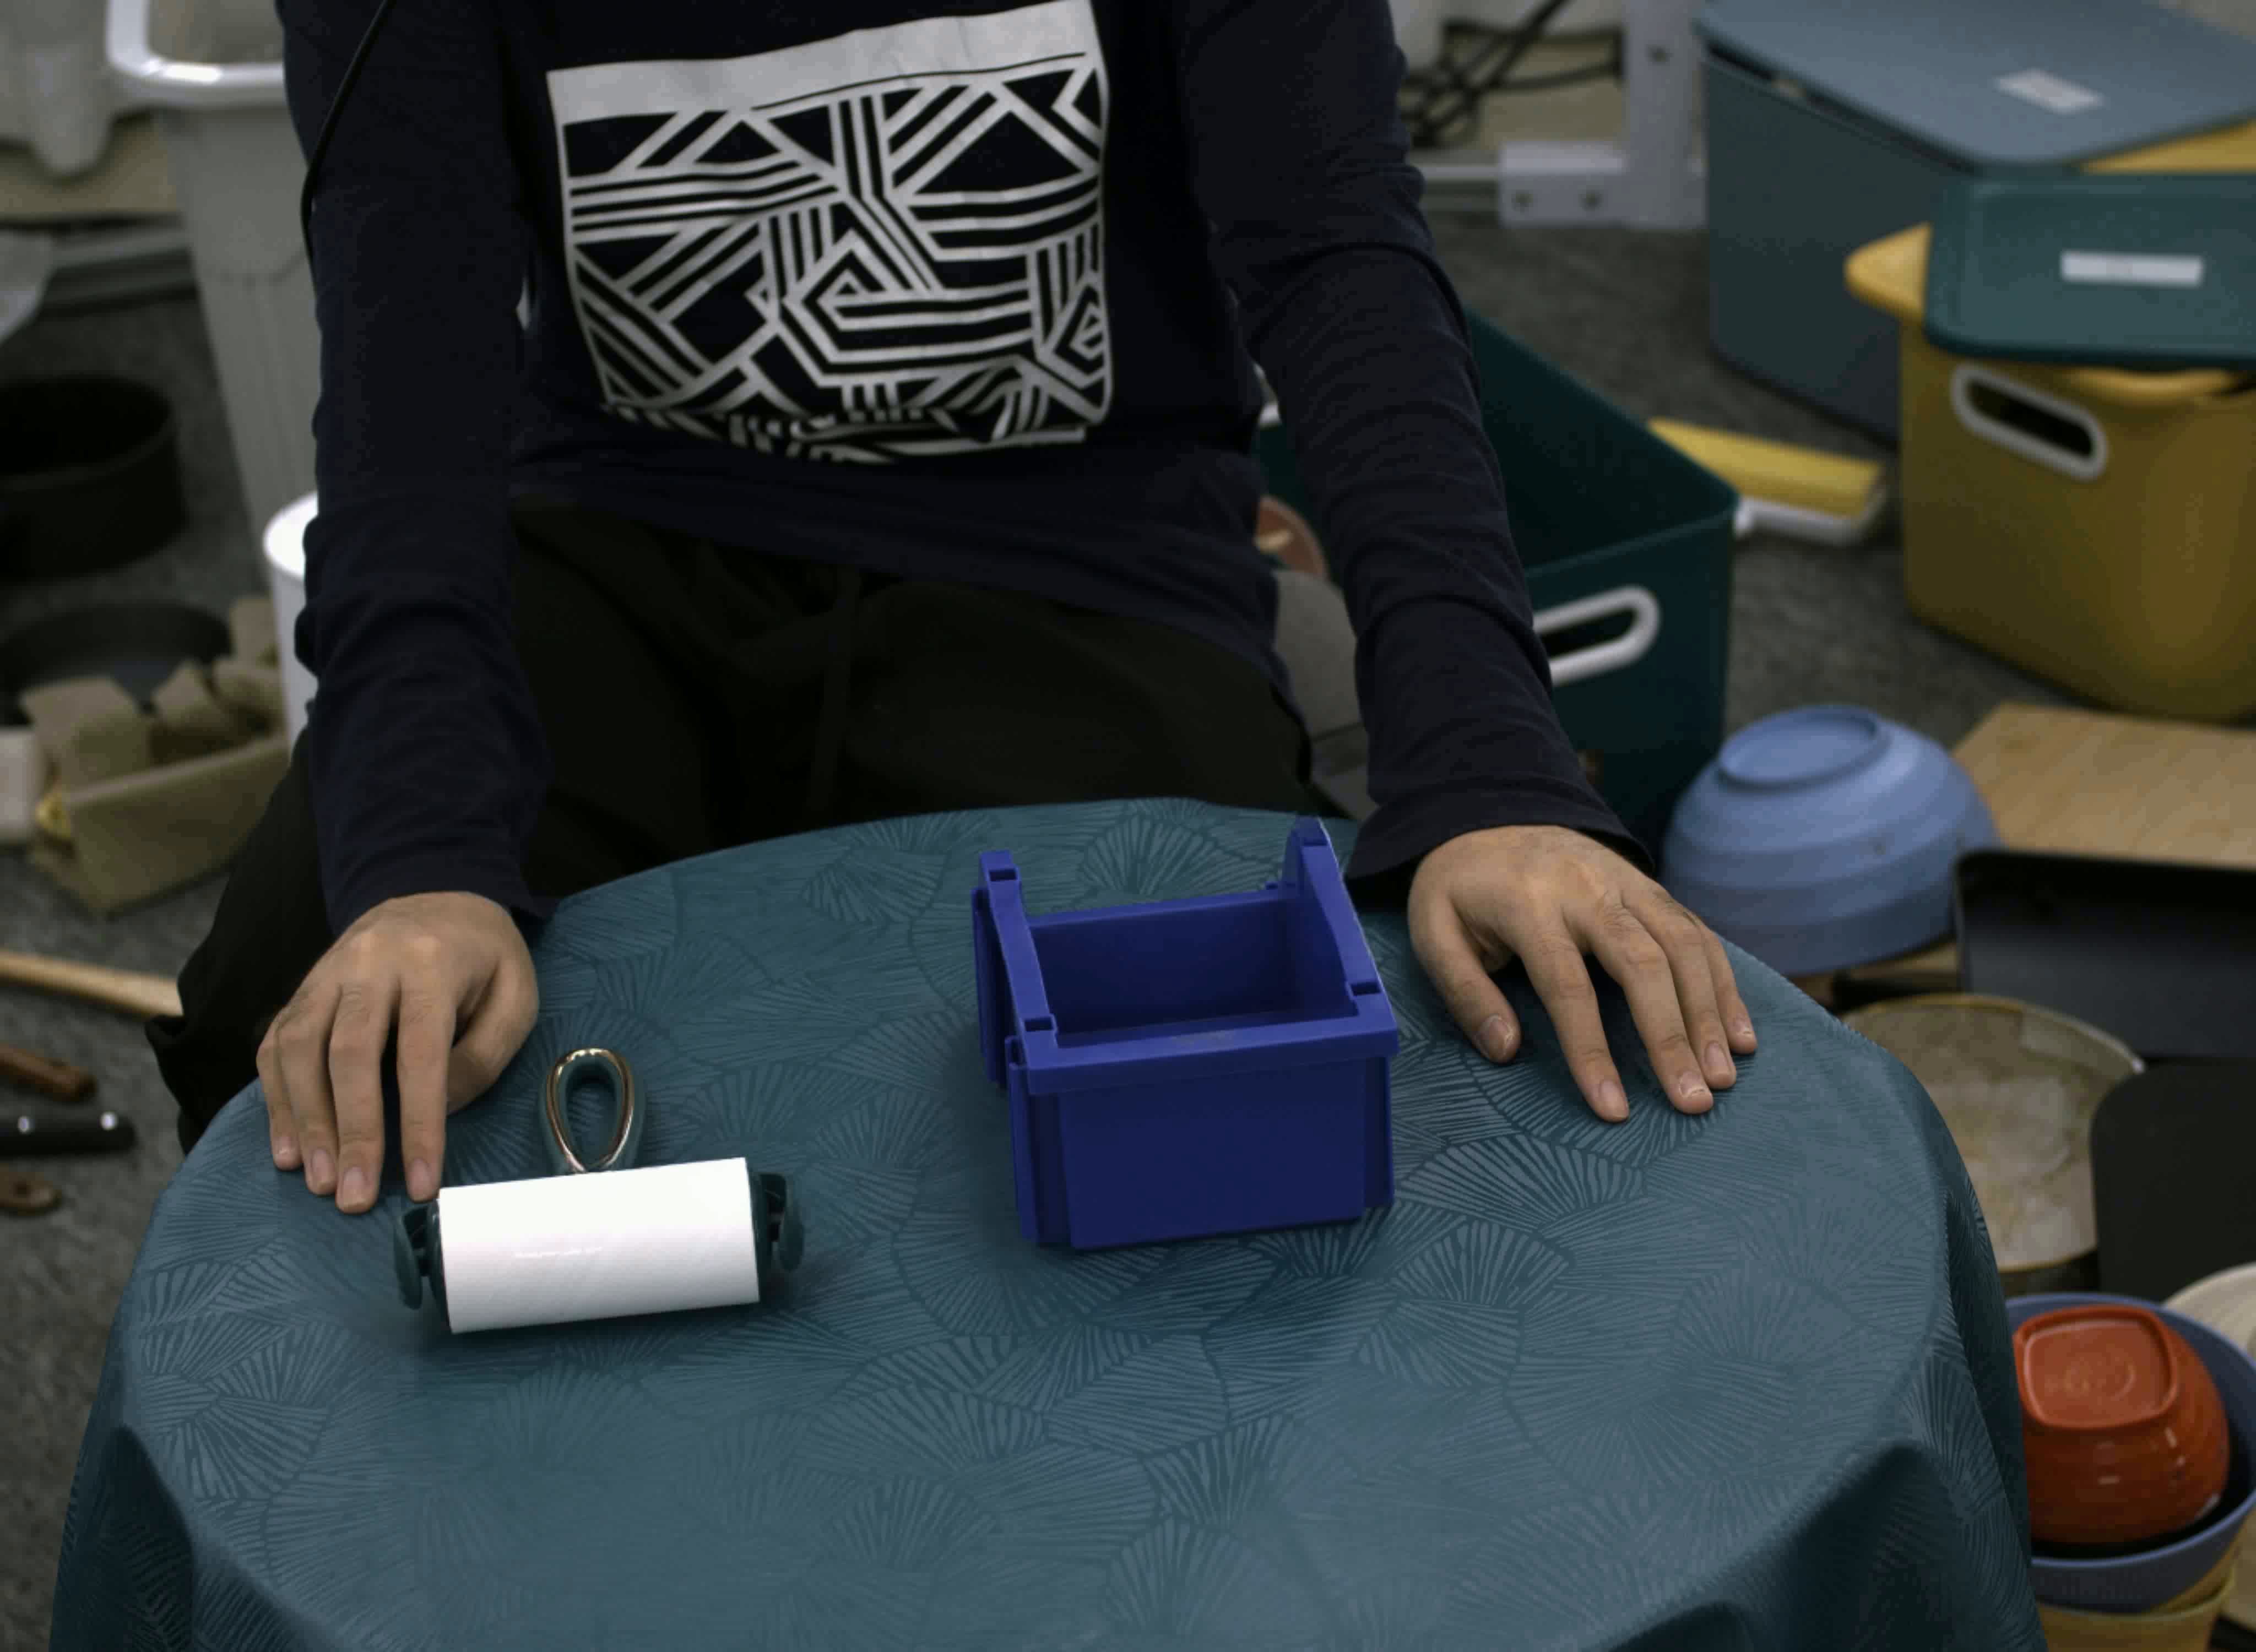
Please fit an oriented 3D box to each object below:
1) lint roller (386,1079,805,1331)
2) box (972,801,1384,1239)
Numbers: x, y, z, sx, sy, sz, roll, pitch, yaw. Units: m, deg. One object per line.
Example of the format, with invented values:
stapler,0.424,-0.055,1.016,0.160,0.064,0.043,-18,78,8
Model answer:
lint roller,-0.179,0.108,1.862,0.134,0.048,0.182,-5,24,-6
box,0.013,0.060,1.892,0.124,0.081,0.182,-6,30,-4
